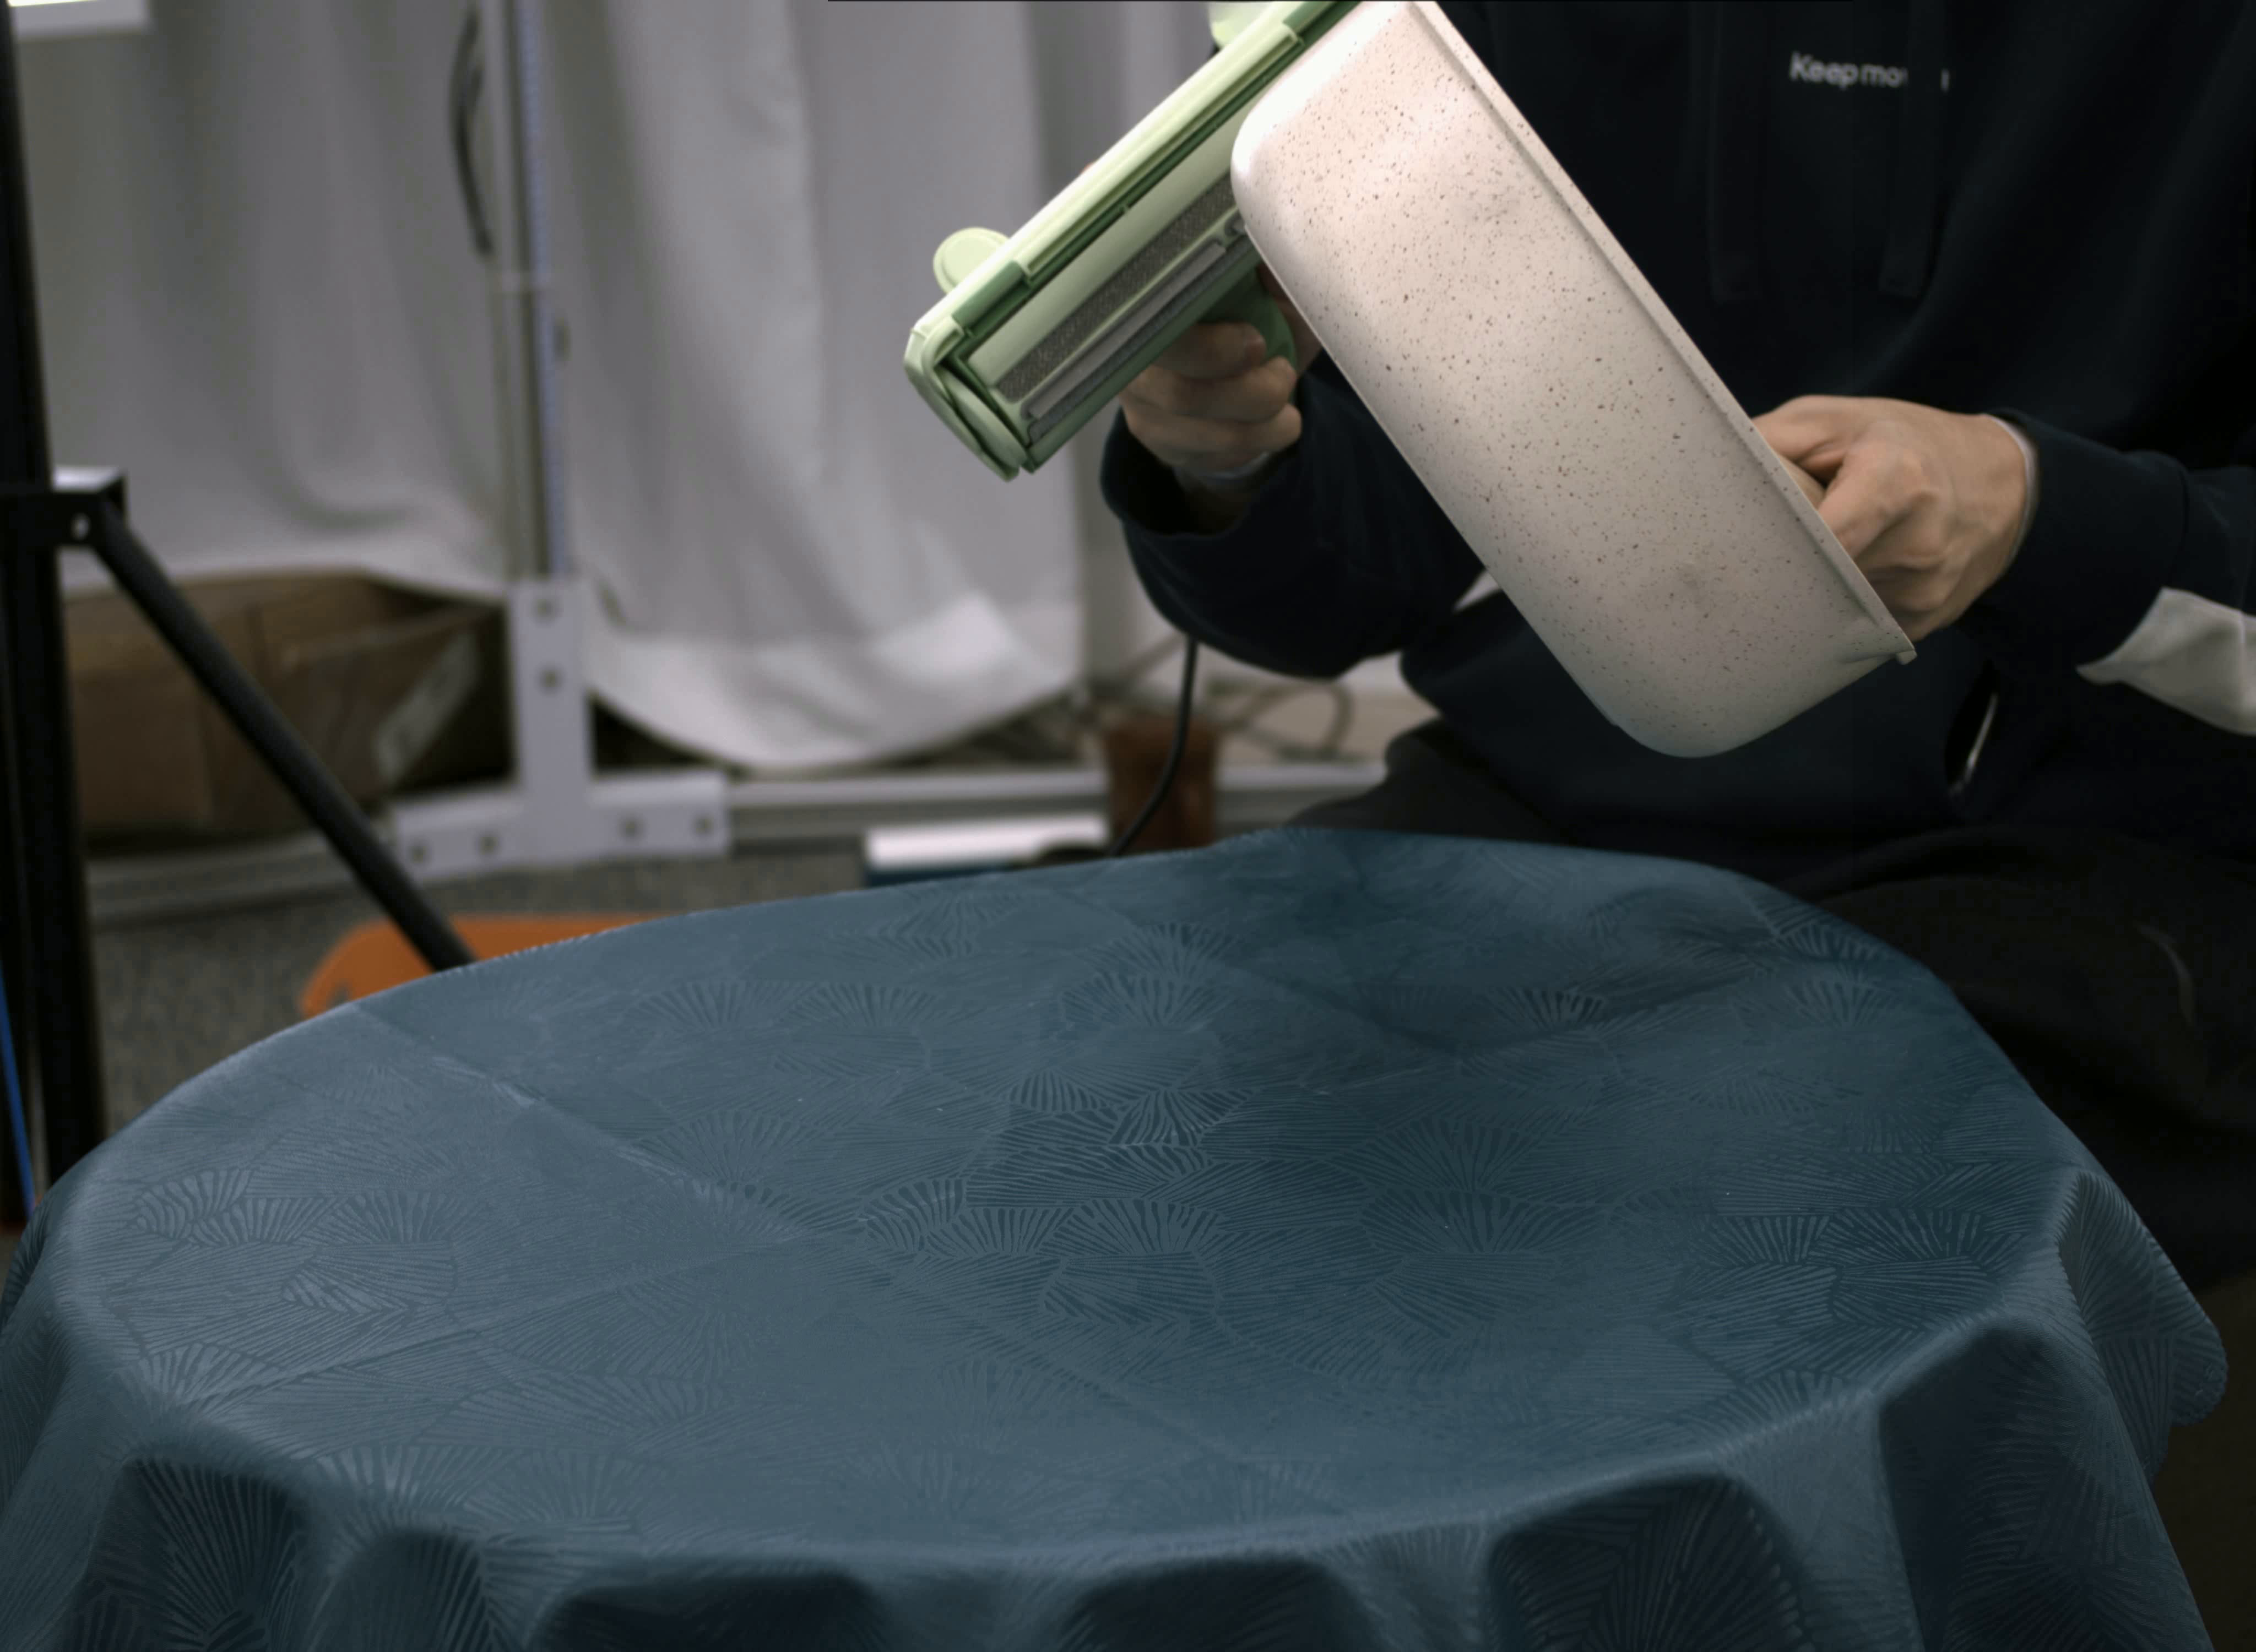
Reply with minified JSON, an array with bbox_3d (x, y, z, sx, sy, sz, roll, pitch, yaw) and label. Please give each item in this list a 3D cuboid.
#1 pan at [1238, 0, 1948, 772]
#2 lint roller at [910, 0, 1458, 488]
[{"bbox_3d":[0.160,-0.101,1.607,0.102,0.268,0.426,-39,-25,6],"label":"pan"},{"bbox_3d":[0.016,-0.182,1.689,0.198,0.083,0.182,-43,-11,-6],"label":"lint roller"}]
